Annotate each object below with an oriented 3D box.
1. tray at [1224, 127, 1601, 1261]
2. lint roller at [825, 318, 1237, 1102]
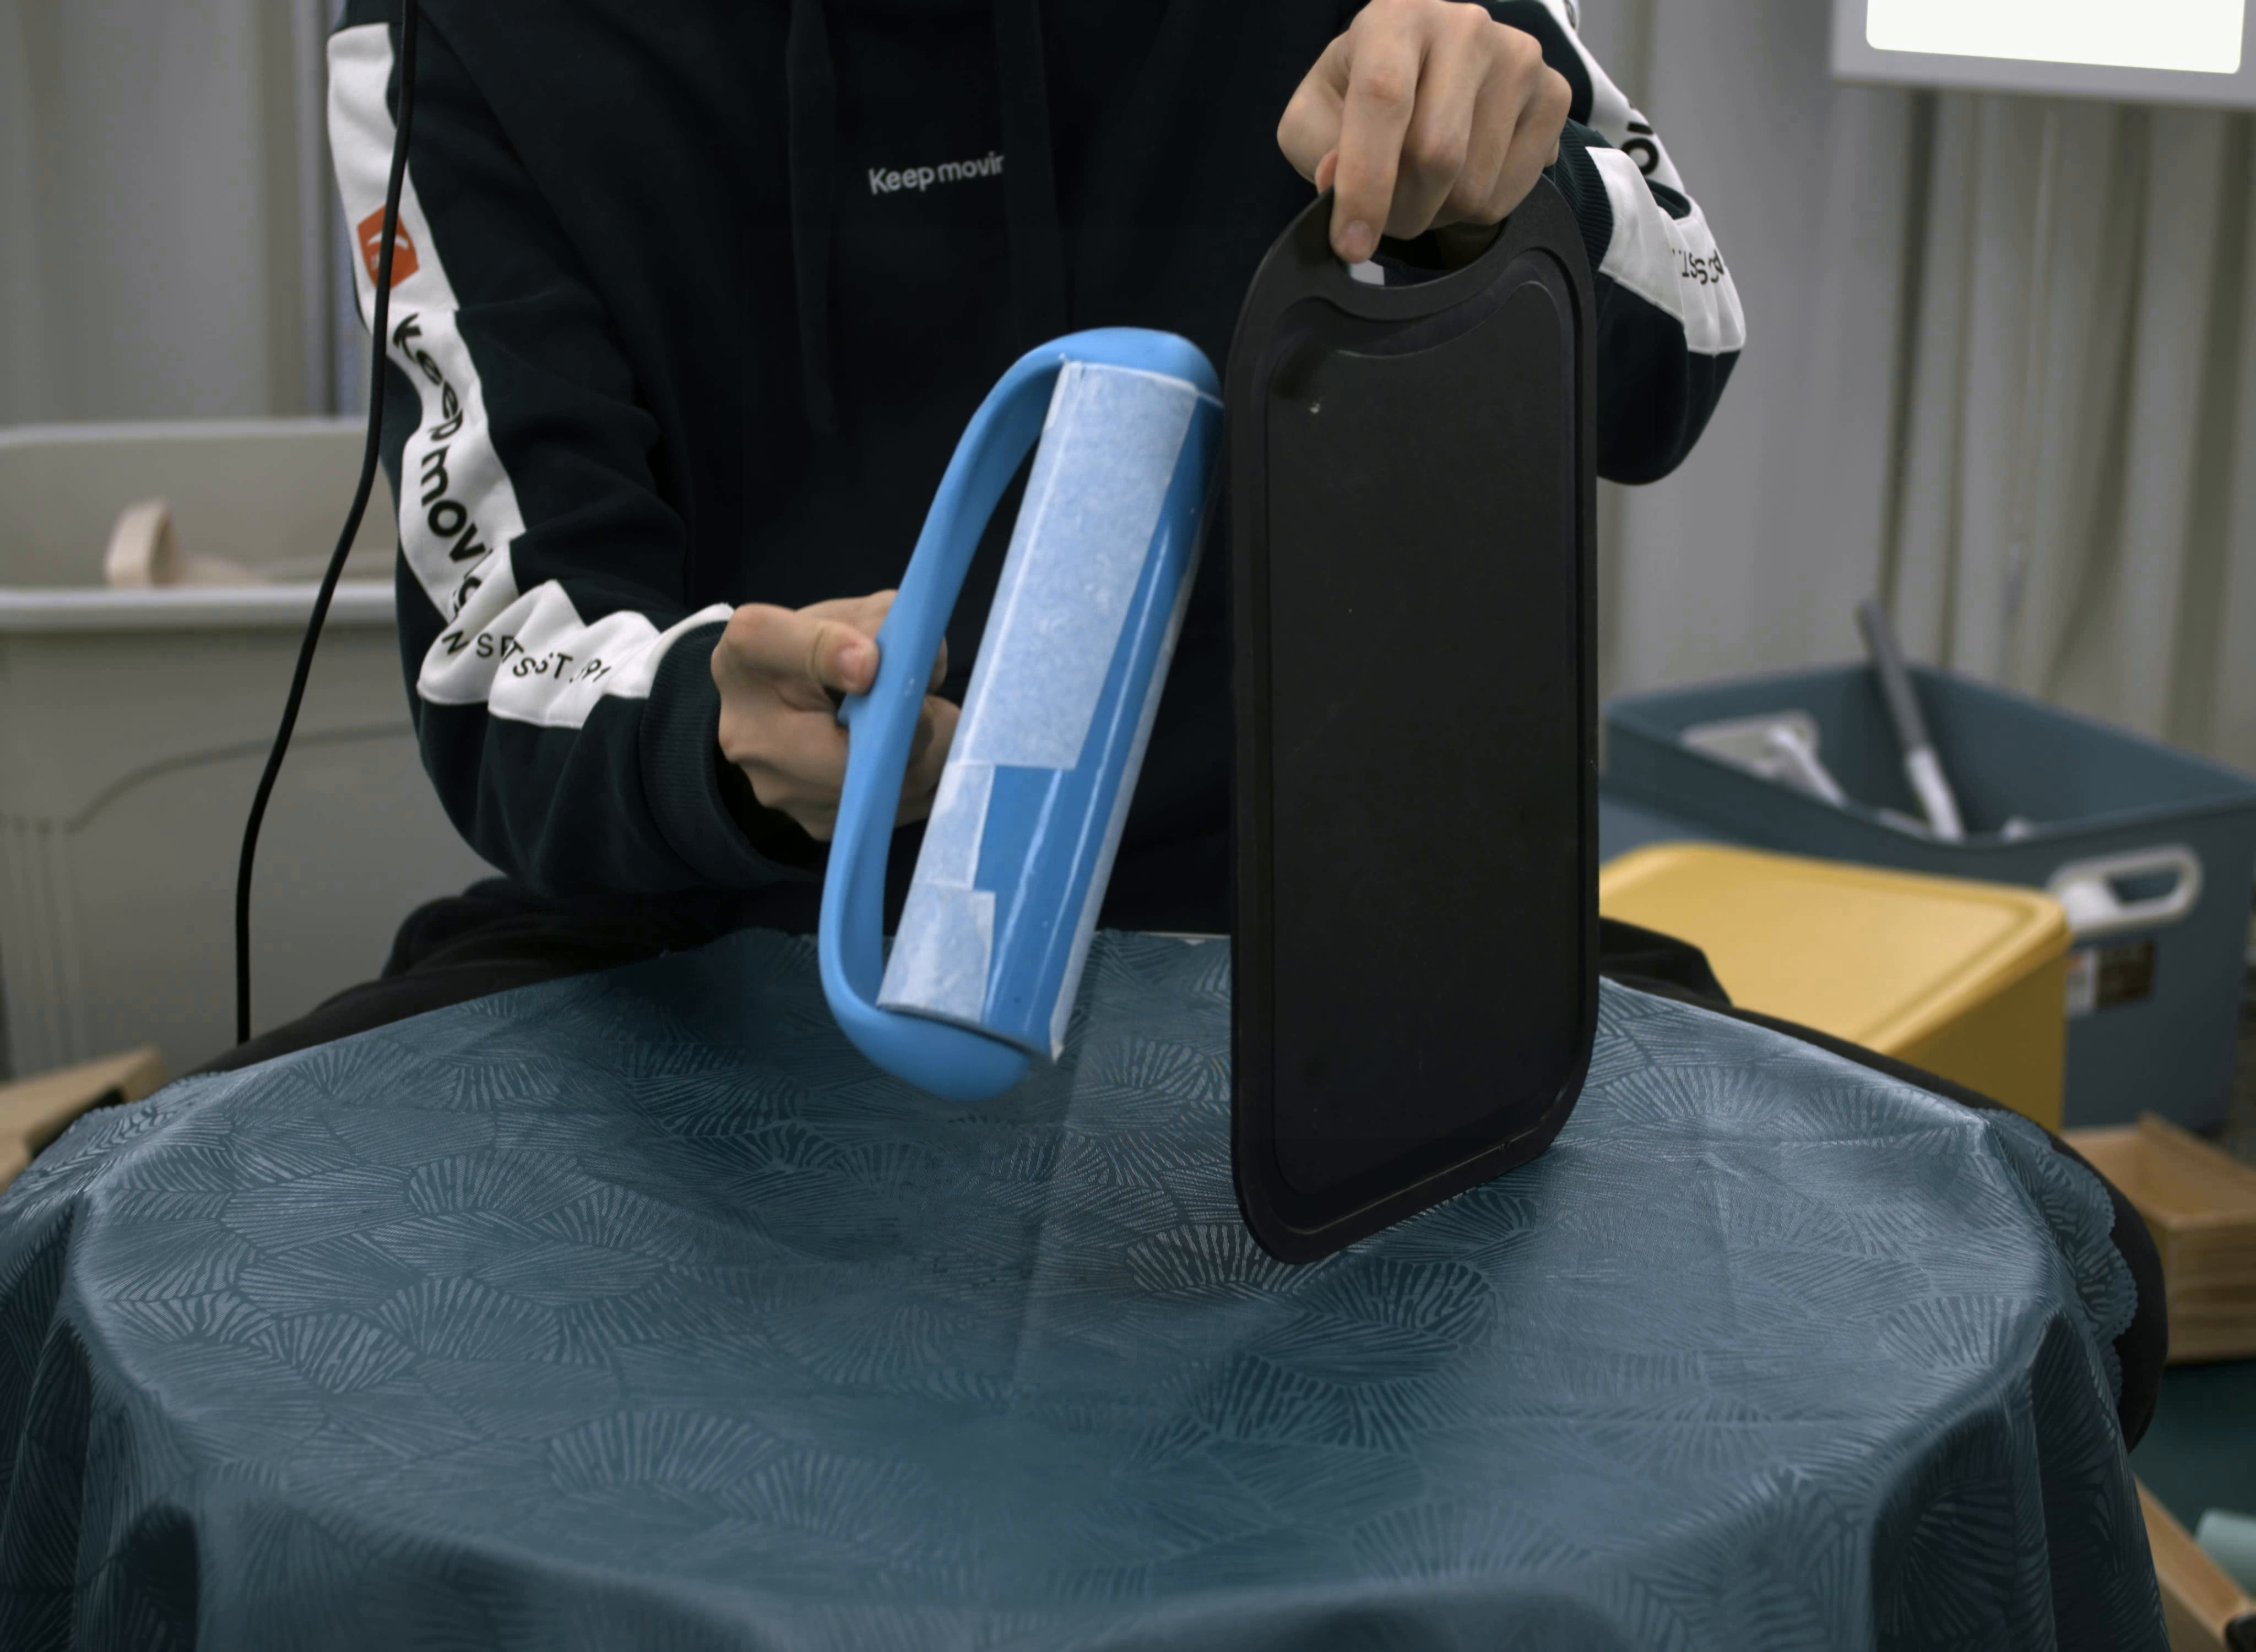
[{"bbox_3d":[0.088,-0.042,1.560,0.009,0.328,0.212,8,15,33],"label":"tray"},{"bbox_3d":[-0.050,-0.030,1.529,0.068,0.229,0.179,18,-12,-28],"label":"lint roller"}]
